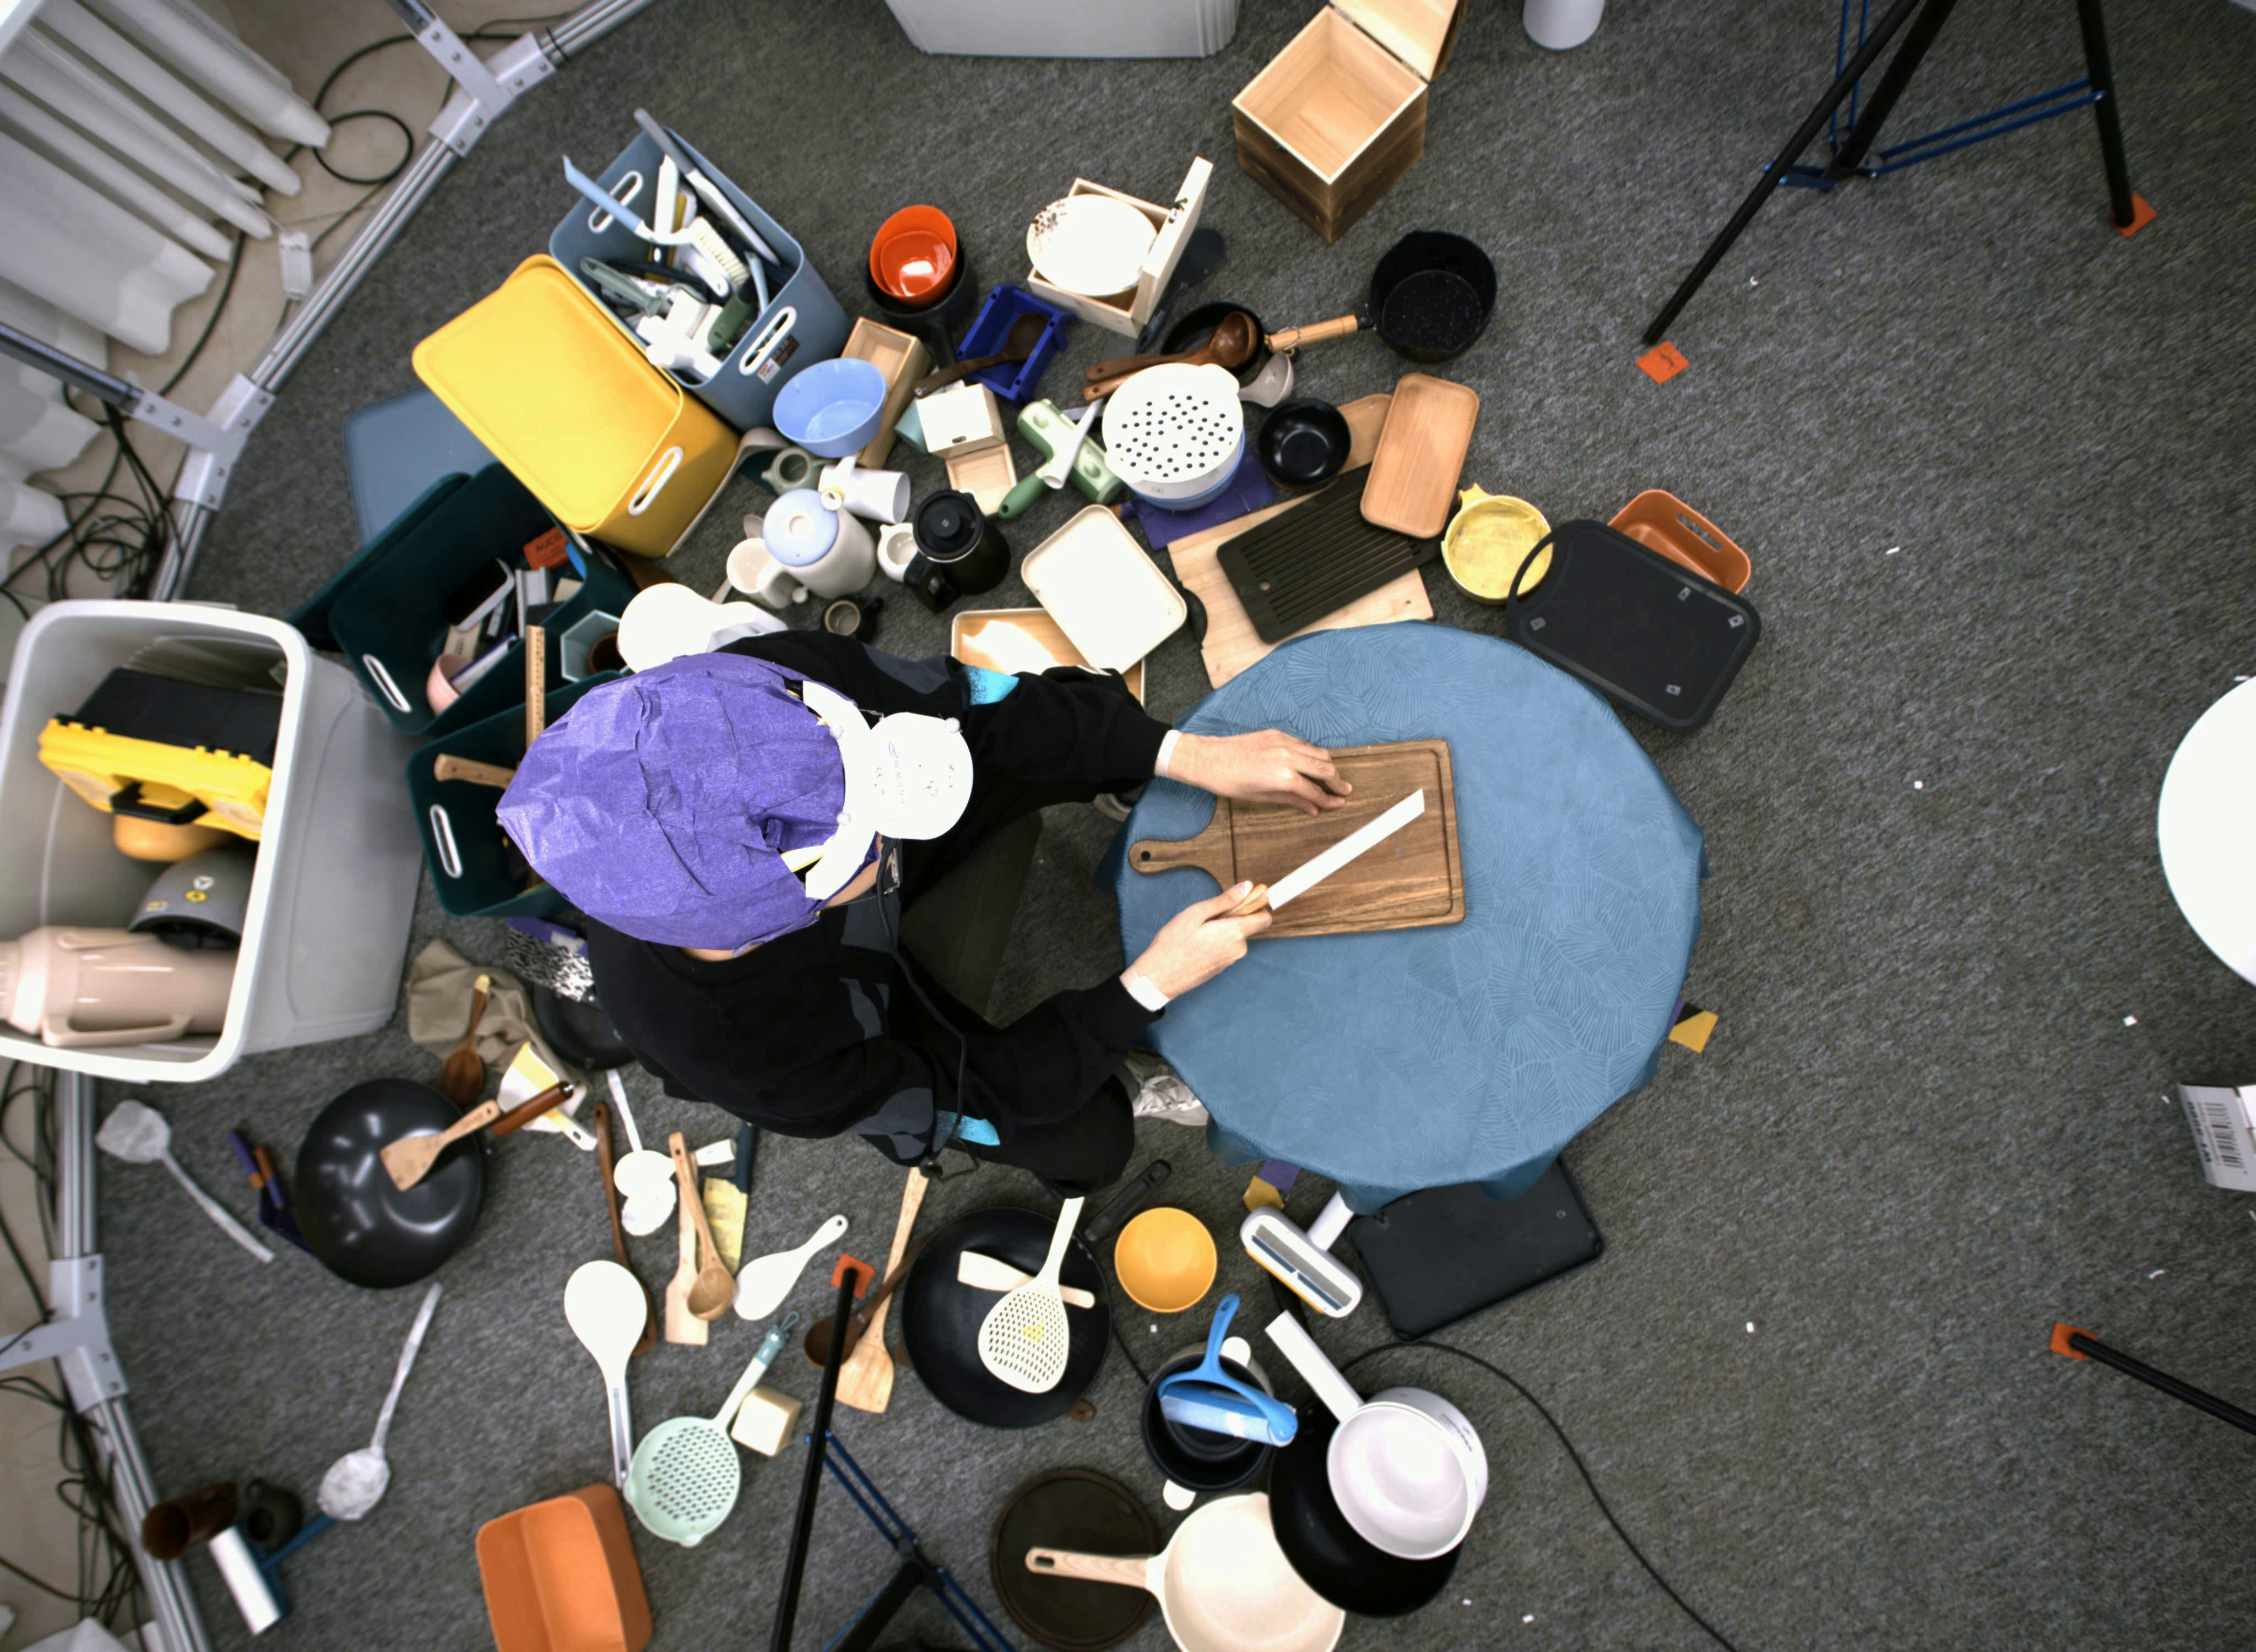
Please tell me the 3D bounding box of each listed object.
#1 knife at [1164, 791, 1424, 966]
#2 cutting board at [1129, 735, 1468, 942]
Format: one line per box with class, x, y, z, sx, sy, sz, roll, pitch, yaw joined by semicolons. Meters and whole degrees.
knife;0.173;0.056;1.411;0.307;0.093;0.021;-34;71;5
cutting board;0.174;0.018;1.474;0.354;0.023;0.200;-6;85;12
